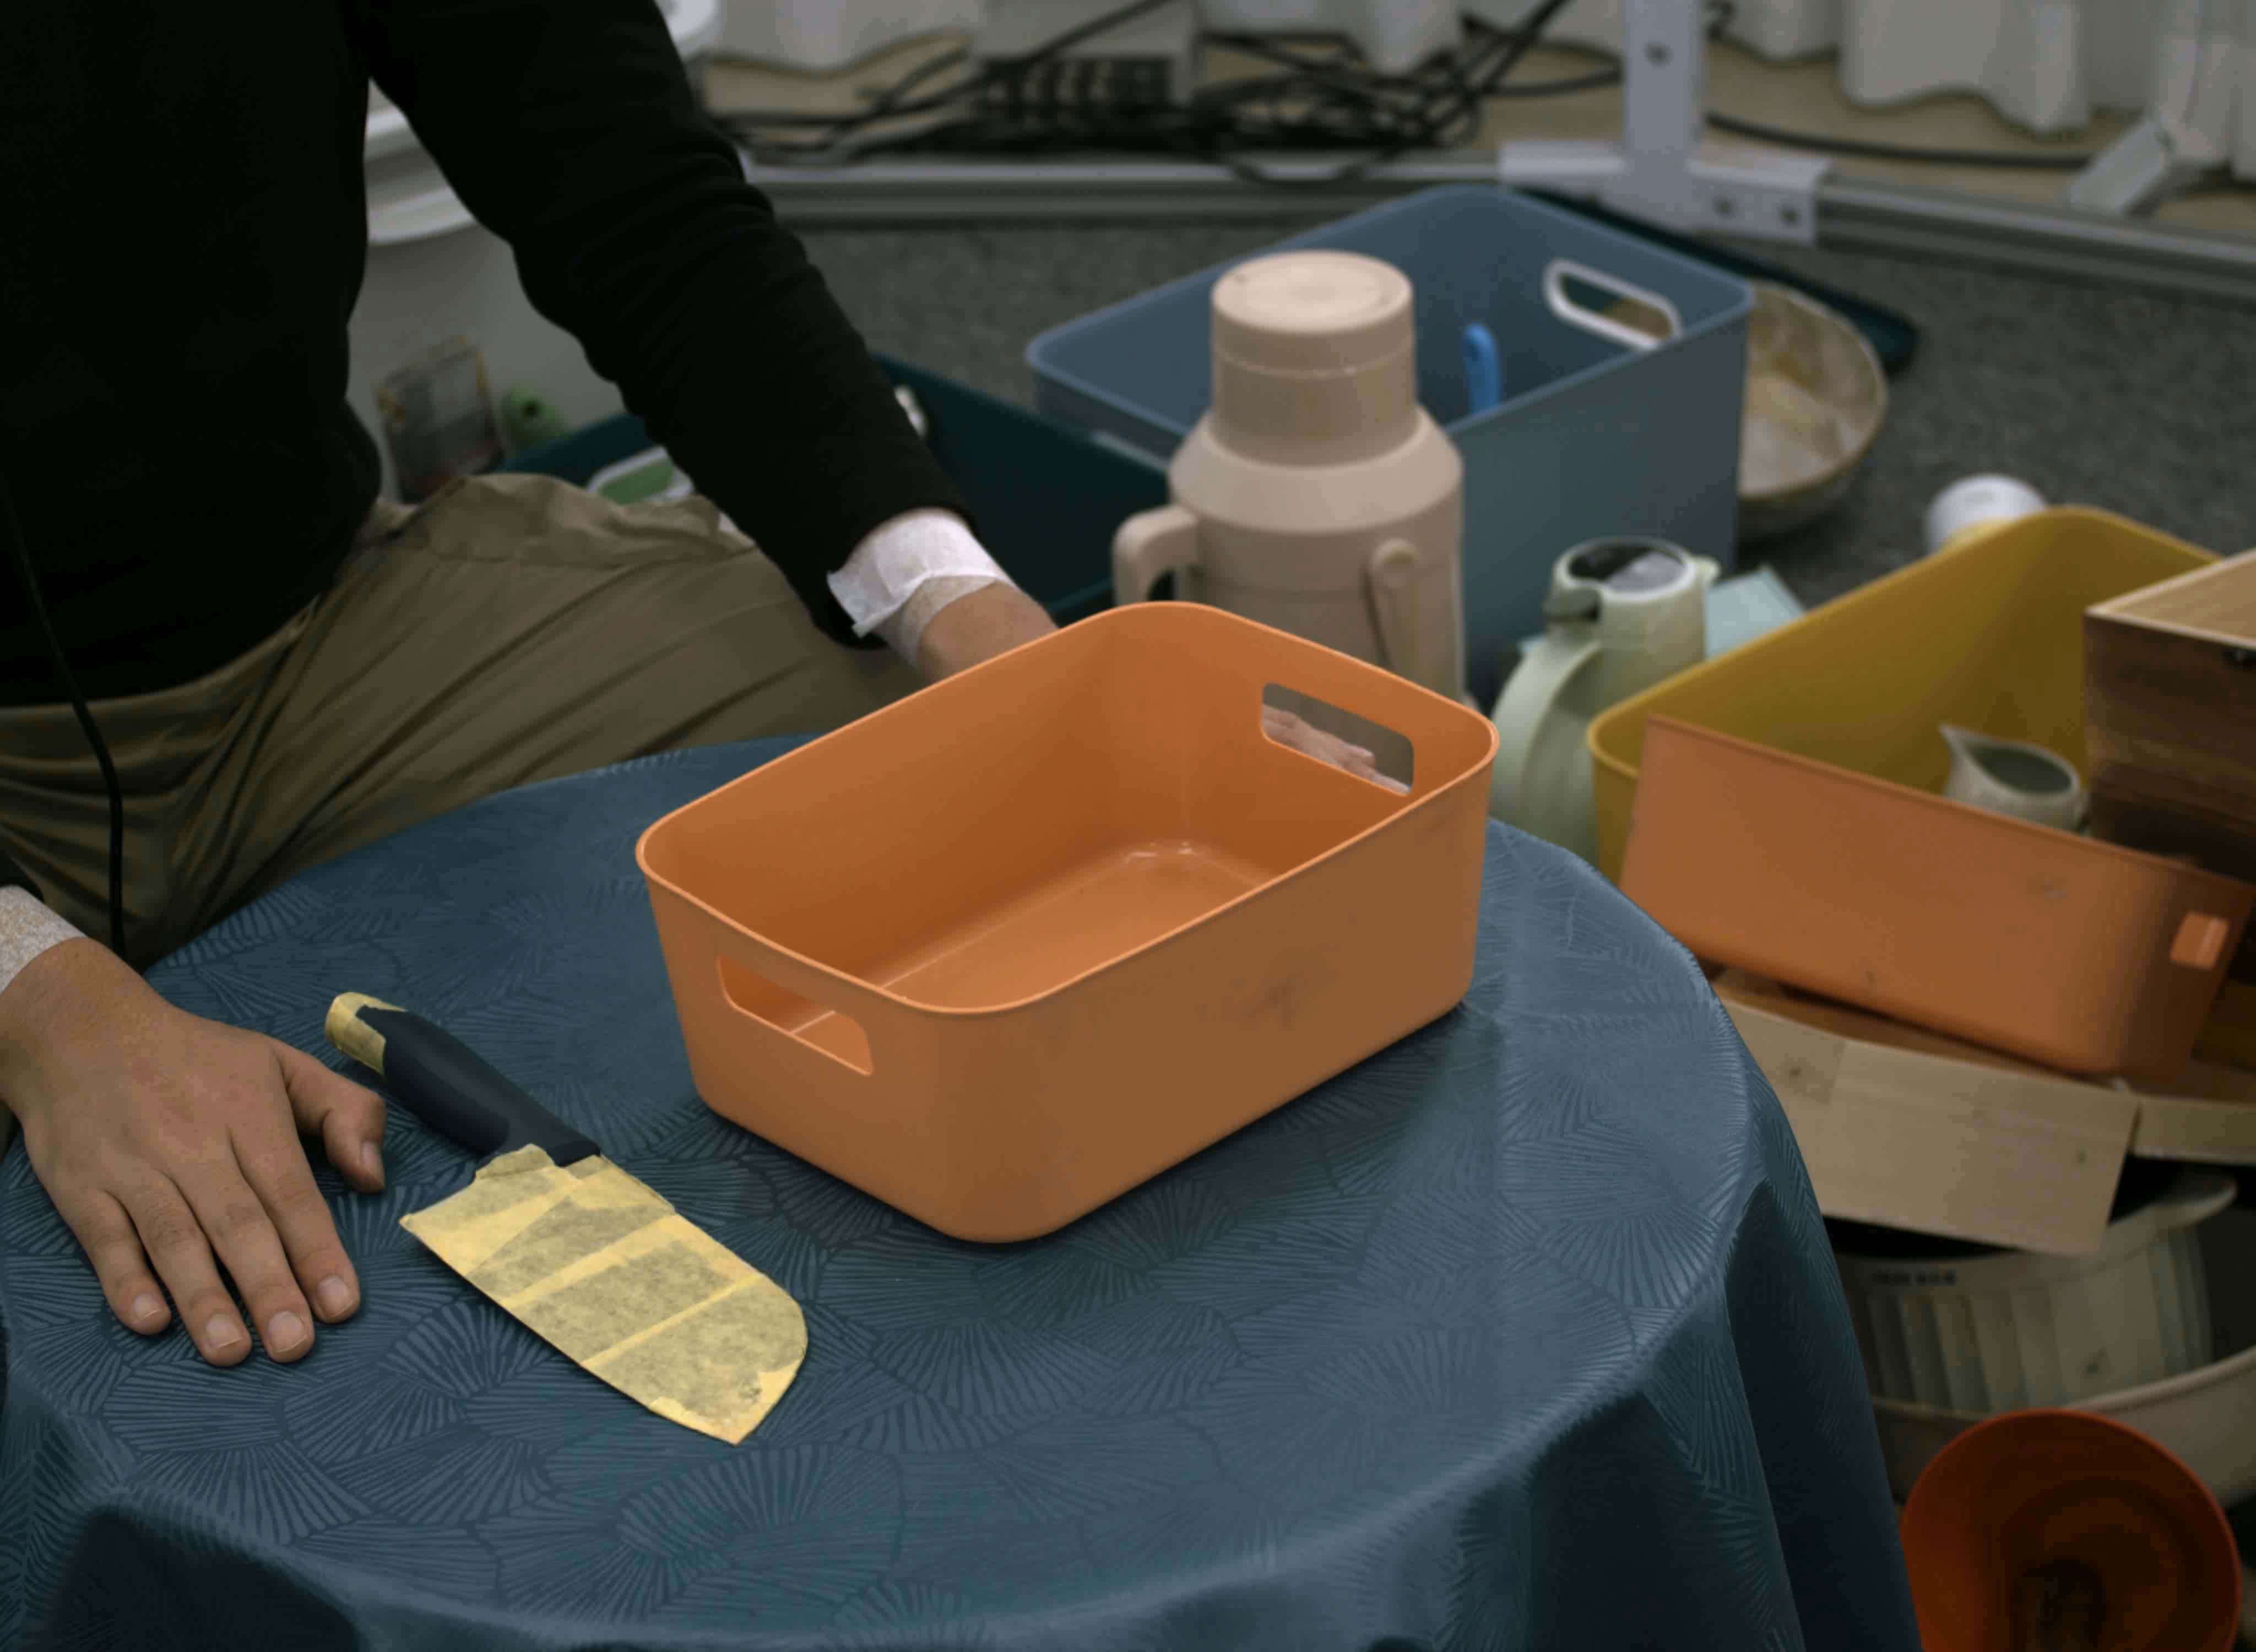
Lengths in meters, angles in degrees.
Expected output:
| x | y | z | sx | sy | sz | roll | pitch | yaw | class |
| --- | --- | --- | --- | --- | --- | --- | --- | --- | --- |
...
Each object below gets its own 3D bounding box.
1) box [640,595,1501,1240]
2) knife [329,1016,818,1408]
| x | y | z | sx | sy | sz | roll | pitch | yaw | class |
| --- | --- | --- | --- | --- | --- | --- | --- | --- | --- |
| -0.017 | 0.030 | 1.928 | 0.276 | 0.101 | 0.199 | -26 | 36 | -37 | box |
| -0.195 | 0.128 | 1.852 | 0.082 | 0.027 | 0.290 | -18 | 32 | -32 | knife |
